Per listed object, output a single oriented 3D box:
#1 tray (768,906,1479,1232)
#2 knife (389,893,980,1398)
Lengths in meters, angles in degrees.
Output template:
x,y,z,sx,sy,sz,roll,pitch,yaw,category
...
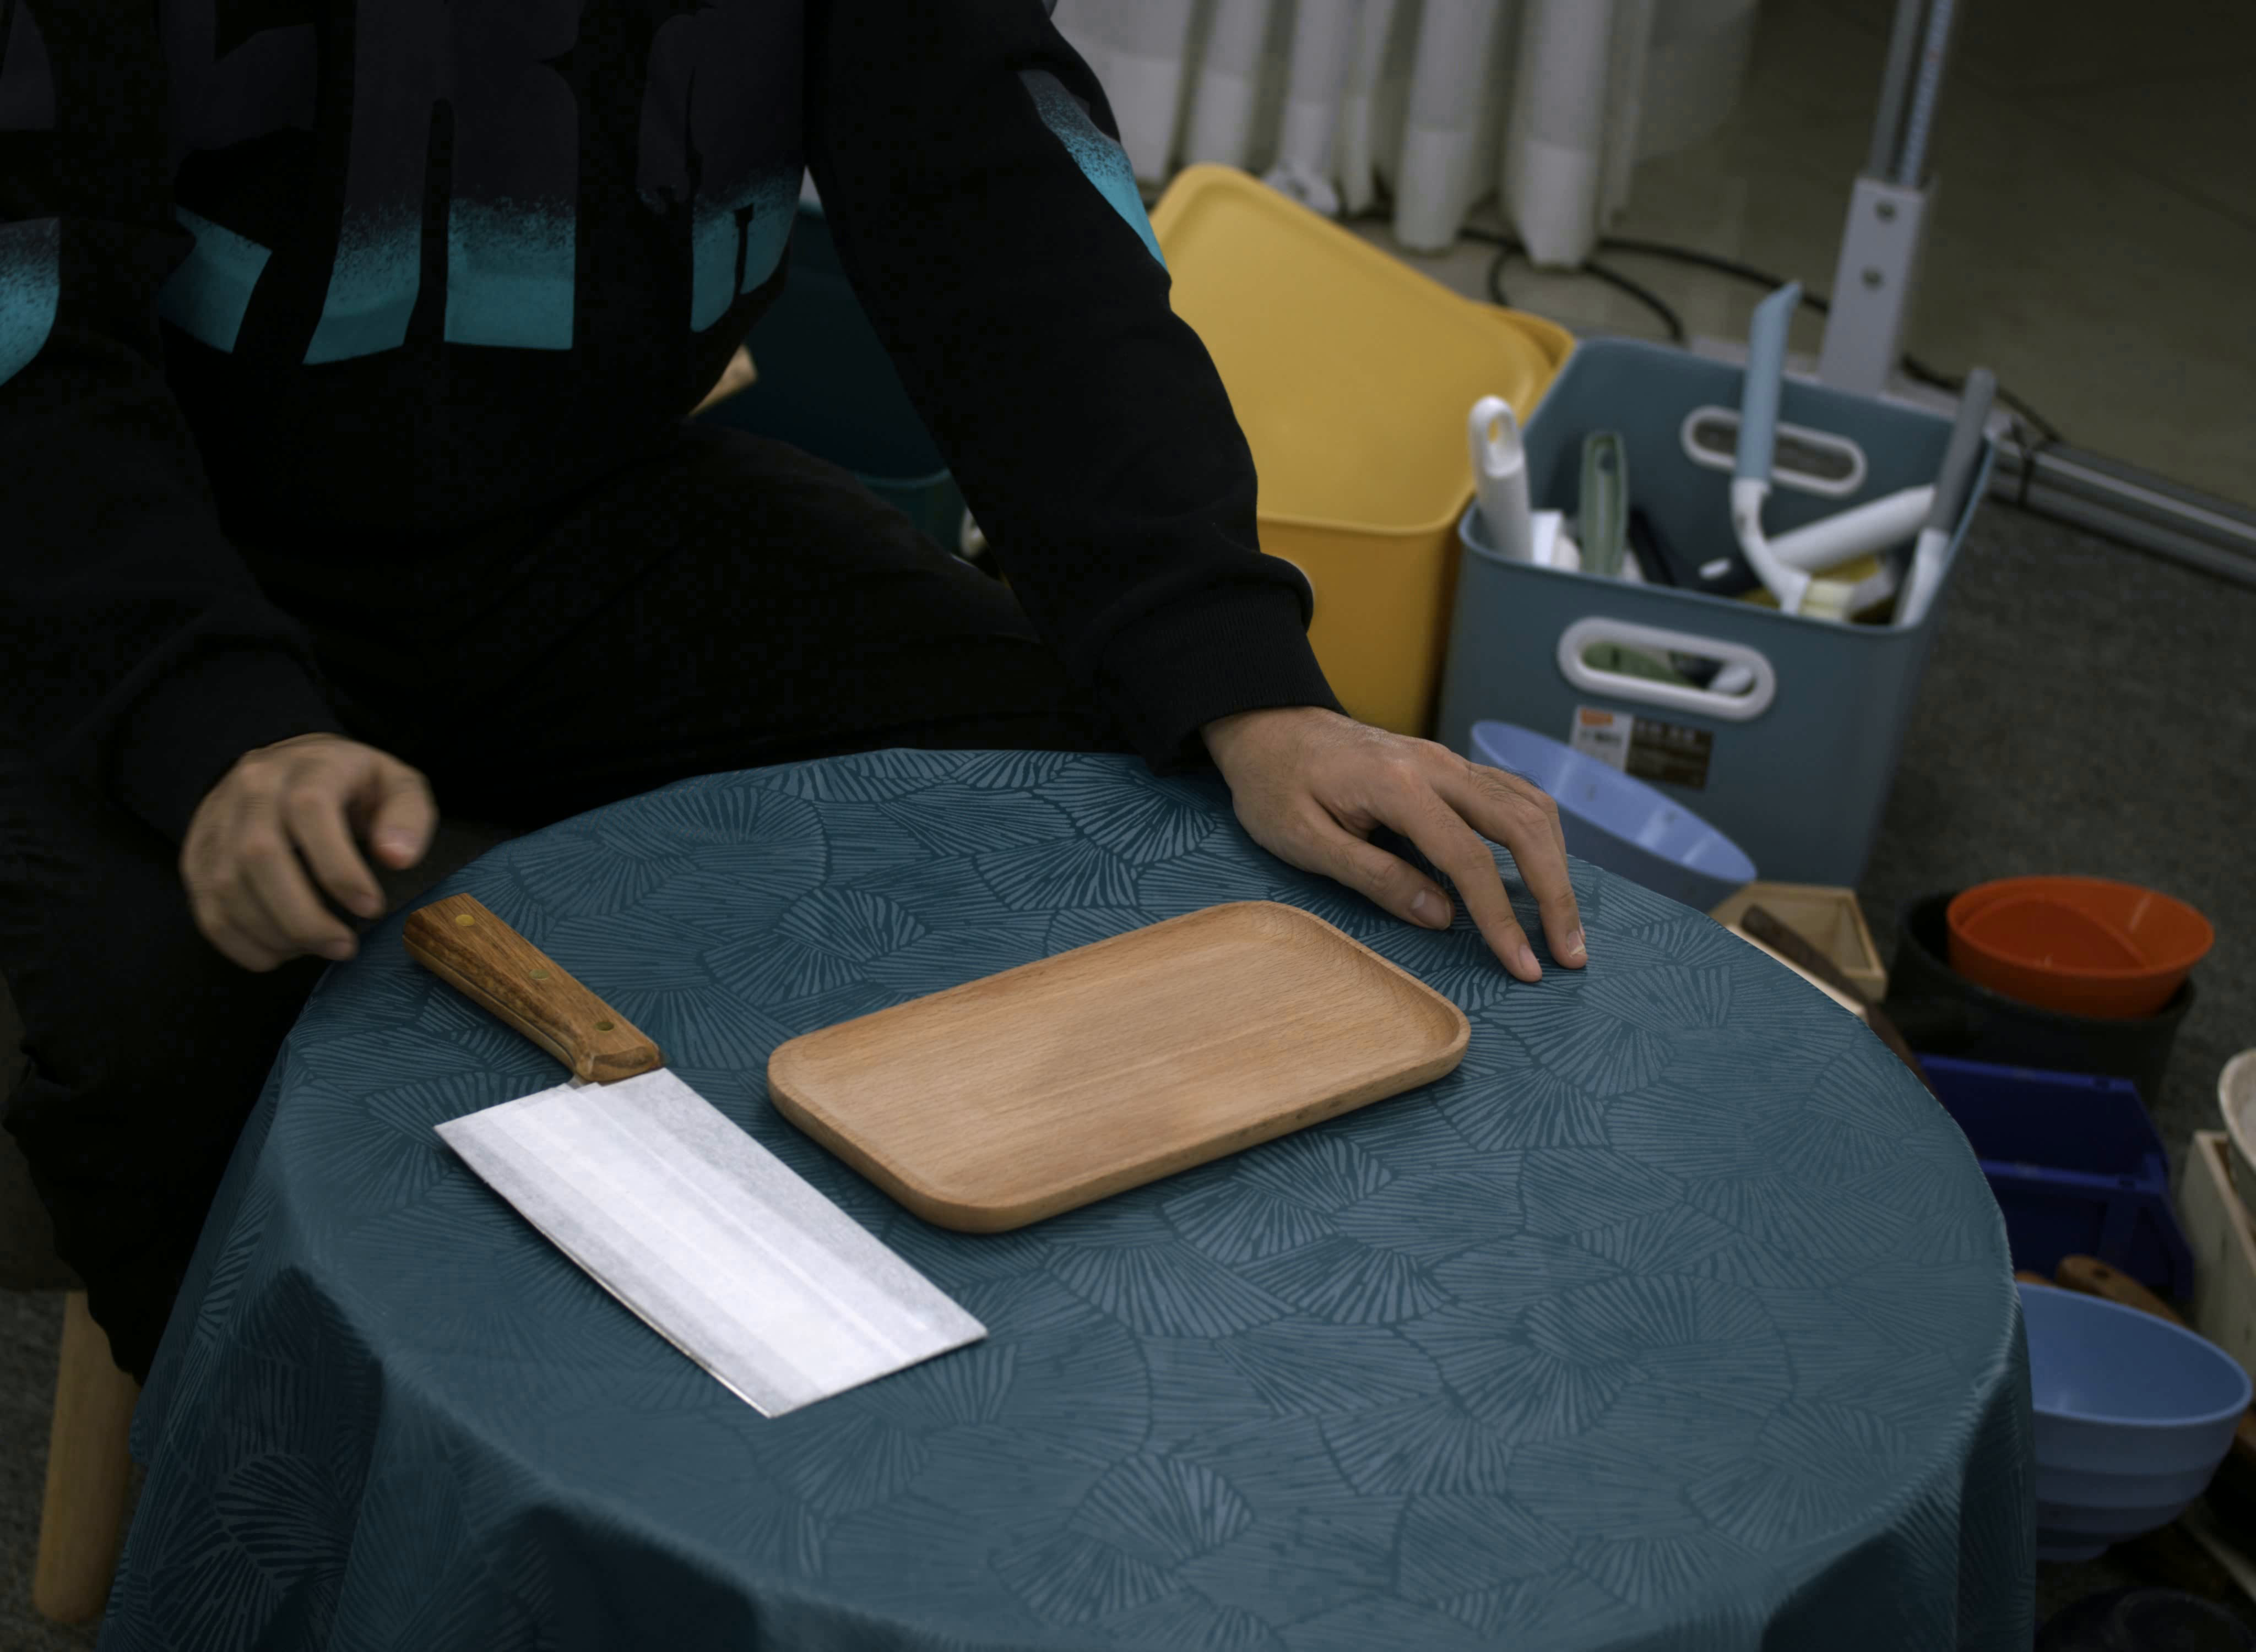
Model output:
x,y,z,sx,sy,sz,roll,pitch,yaw,category
0.000,0.084,1.865,0.249,0.023,0.131,-14,35,-37,tray
-0.173,0.106,1.782,0.092,0.021,0.308,-17,38,-36,knife
